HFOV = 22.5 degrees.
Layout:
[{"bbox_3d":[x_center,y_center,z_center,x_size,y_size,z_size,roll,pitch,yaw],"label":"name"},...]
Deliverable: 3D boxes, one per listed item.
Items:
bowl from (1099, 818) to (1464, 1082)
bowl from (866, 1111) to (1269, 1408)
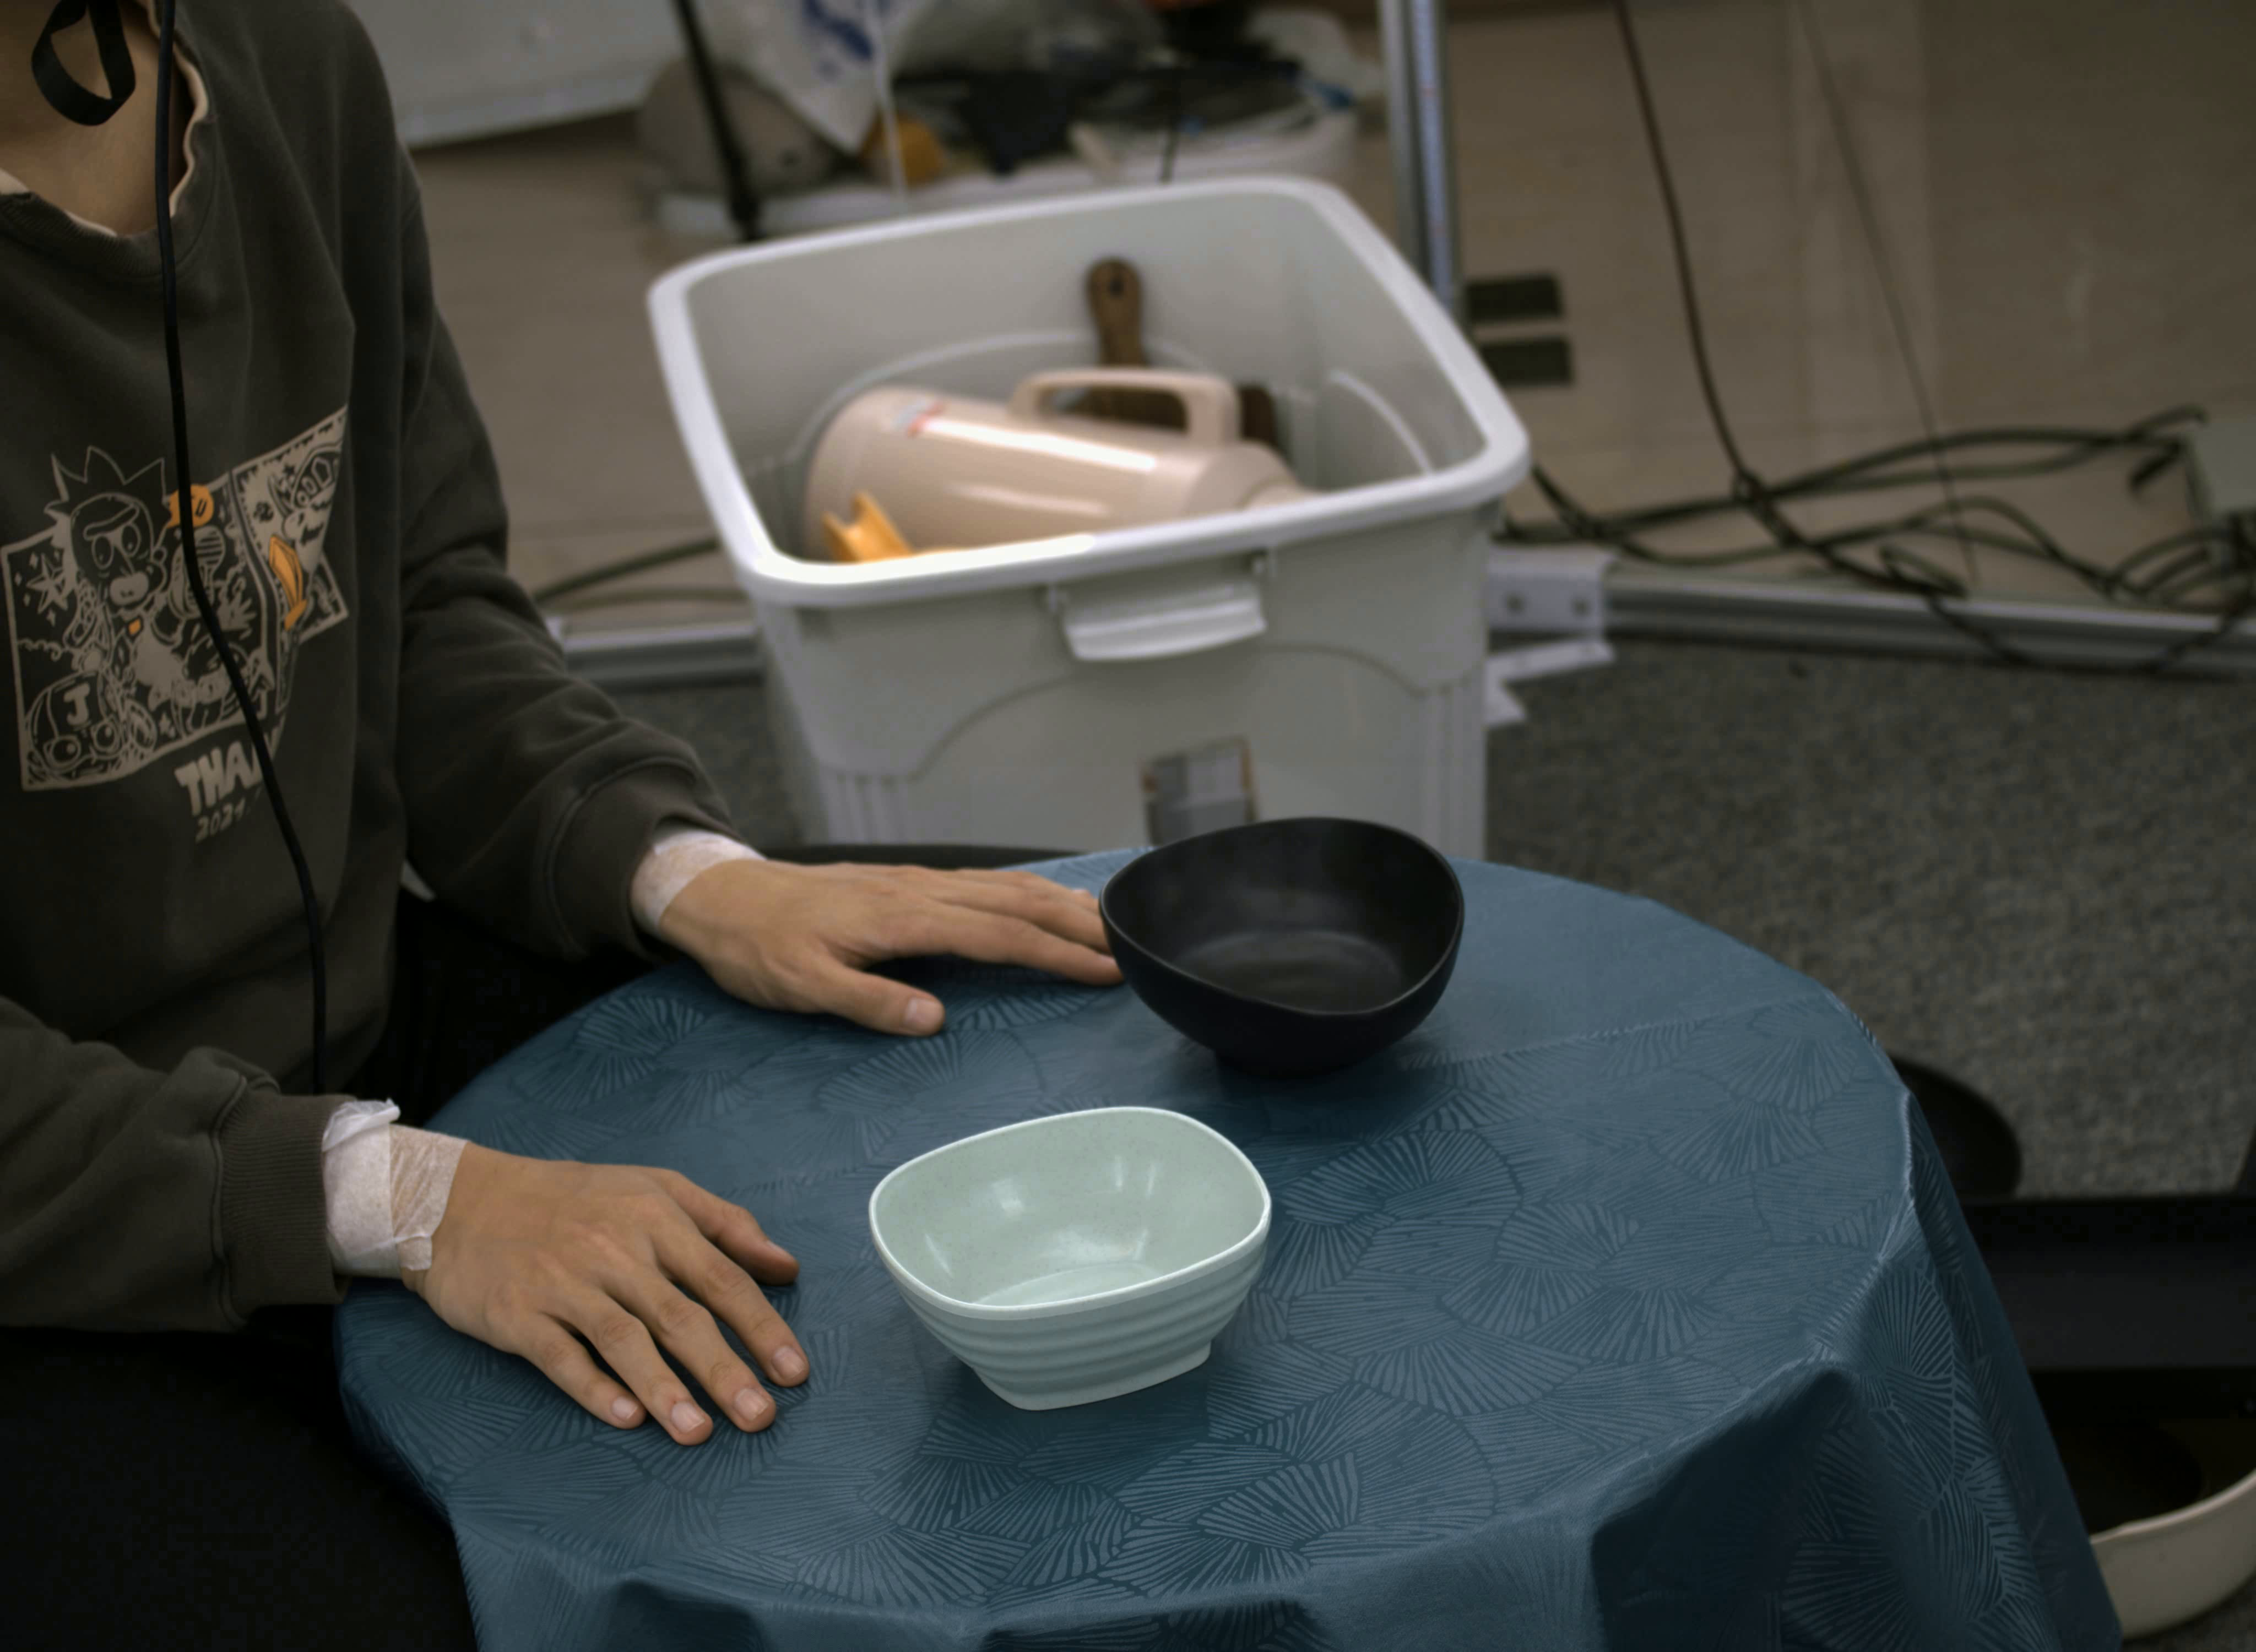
[{"bbox_3d":[0.064,0.056,2.233,0.137,0.068,0.168,-17,29,-21],"label":"bowl"},{"bbox_3d":[-0.020,0.161,2.036,0.151,0.059,0.149,-3,25,2],"label":"bowl"}]
